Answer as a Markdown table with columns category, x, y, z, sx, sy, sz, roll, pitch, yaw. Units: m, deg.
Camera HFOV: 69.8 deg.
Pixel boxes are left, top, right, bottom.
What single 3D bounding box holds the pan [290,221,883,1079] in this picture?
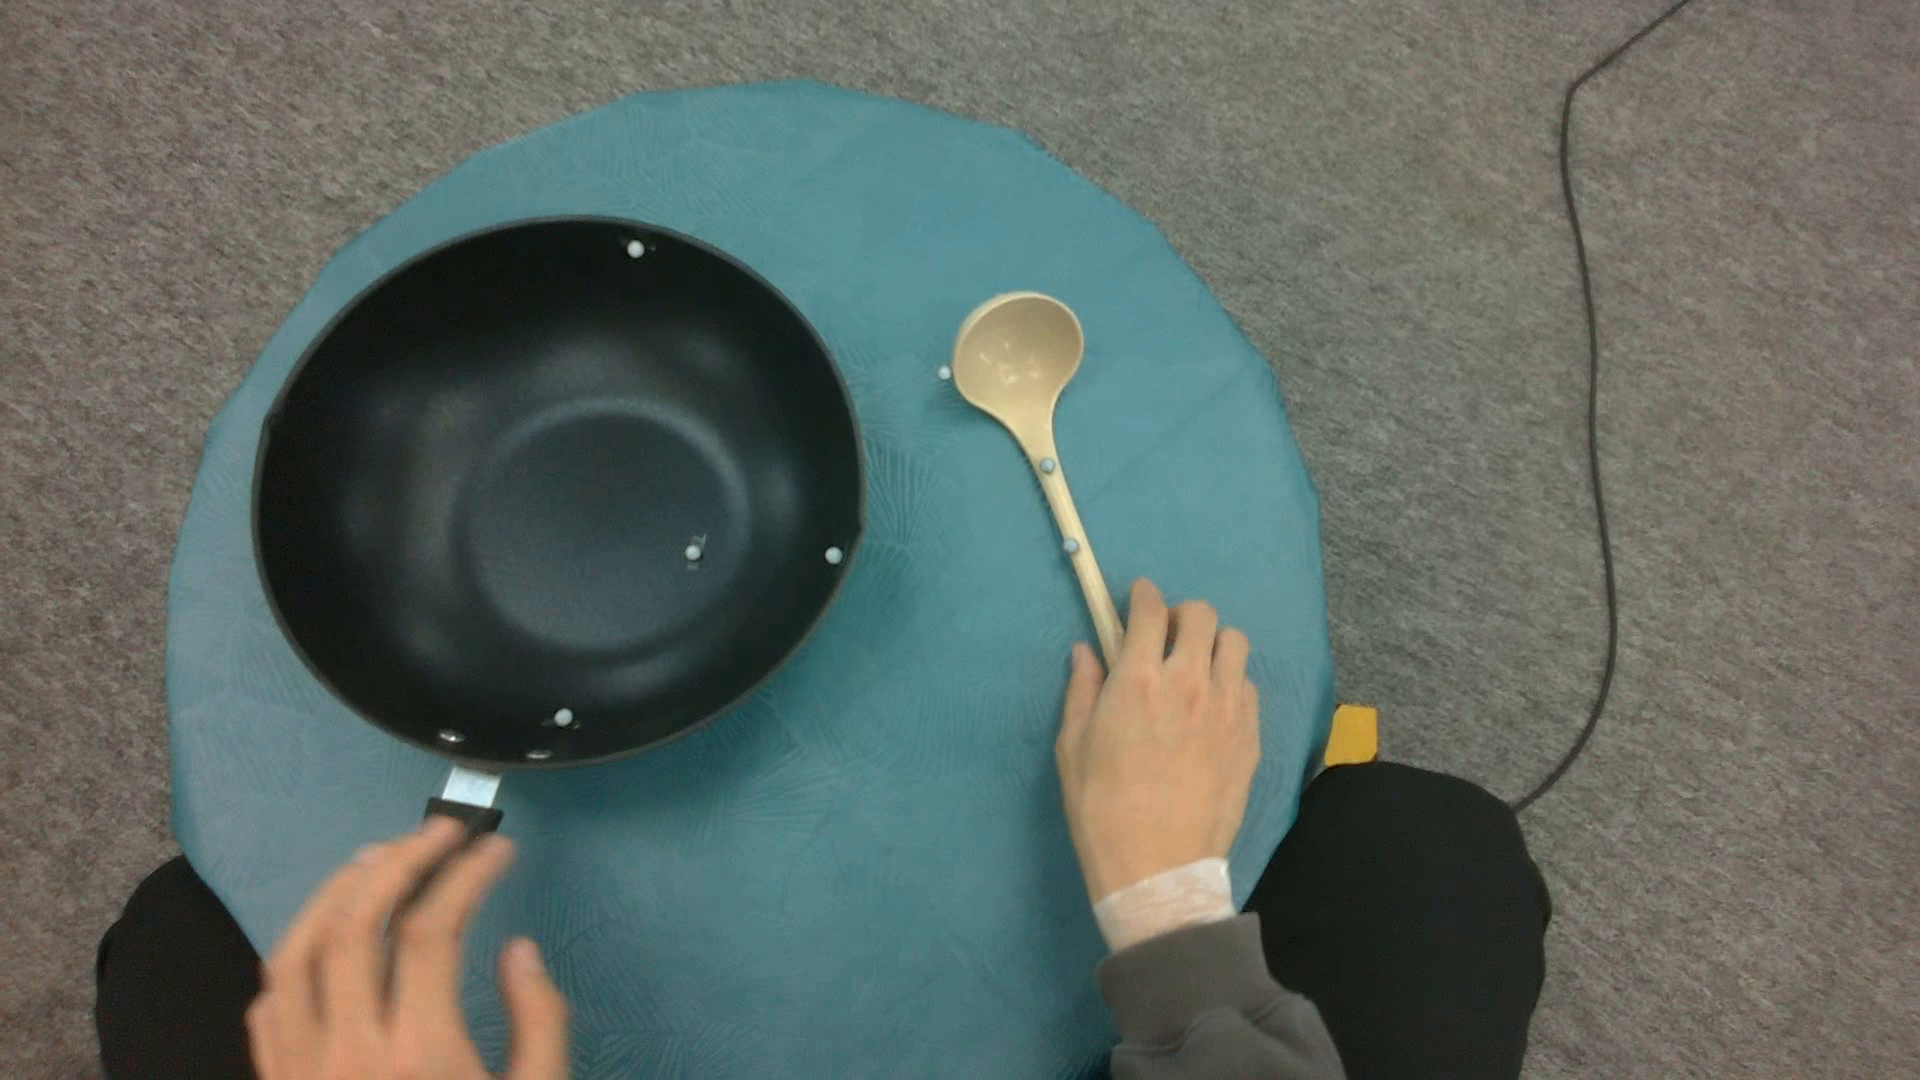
| category | x | y | z | sx | sy | sz | roll | pitch | yaw |
| --- | --- | --- | --- | --- | --- | --- | --- | --- | --- |
| pan | -0.199 | 0.068 | 0.671 | 0.288 | 0.086 | 0.464 | 11 | 73 | 2 |

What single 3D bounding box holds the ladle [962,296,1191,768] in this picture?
| category | x | y | z | sx | sy | sz | roll | pitch | yaw |
| --- | --- | --- | --- | --- | --- | --- | --- | --- | --- |
| ladle | 0.071 | -0.009 | 0.707 | 0.072 | 0.072 | 0.255 | -18 | 72 | -10 |
